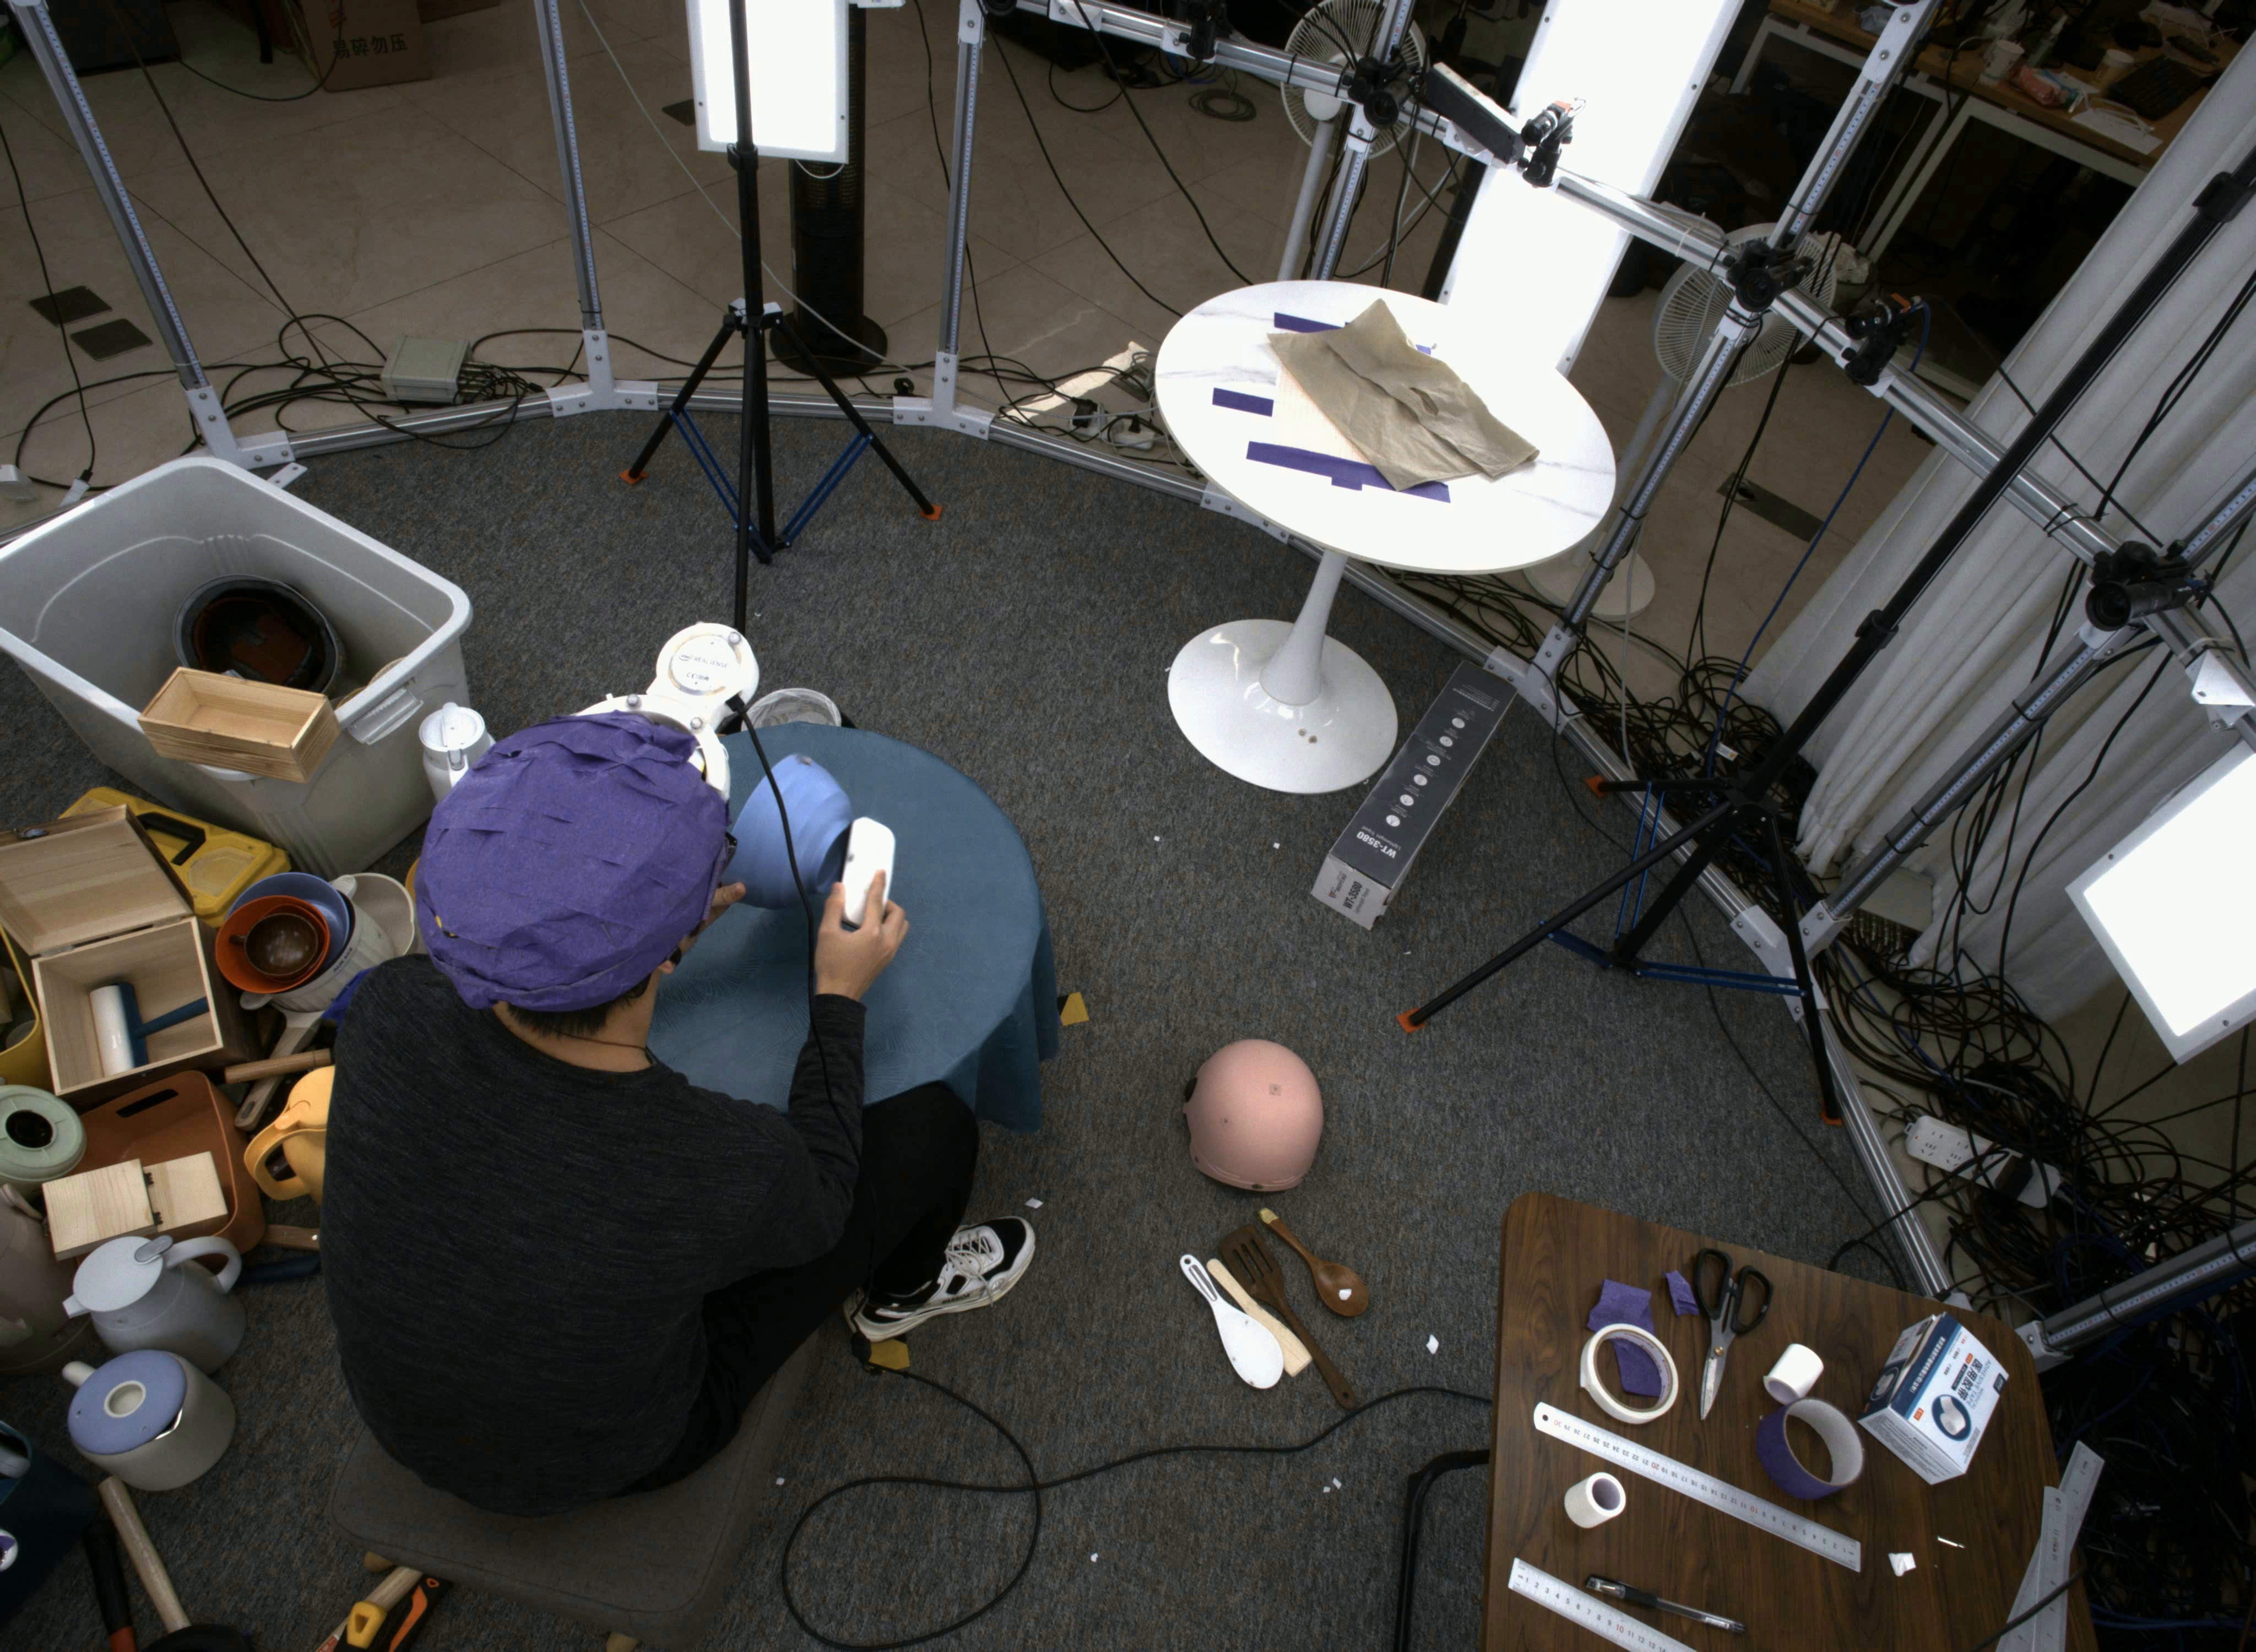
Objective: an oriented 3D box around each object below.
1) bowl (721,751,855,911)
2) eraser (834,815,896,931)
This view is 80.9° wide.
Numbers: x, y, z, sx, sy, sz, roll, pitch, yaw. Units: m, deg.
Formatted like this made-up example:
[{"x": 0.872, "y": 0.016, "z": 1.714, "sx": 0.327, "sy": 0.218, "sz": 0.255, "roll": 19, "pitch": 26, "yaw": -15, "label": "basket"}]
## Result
[{"x": -0.385, "y": 0.020, "z": 1.537, "sx": 0.094, "sy": 0.201, "sz": 0.195, "roll": 26, "pitch": 51, "yaw": 9, "label": "bowl"}, {"x": -0.306, "y": 0.053, "z": 1.519, "sx": 0.033, "sy": 0.065, "sz": 0.130, "roll": -10, "pitch": 63, "yaw": 30, "label": "eraser"}]
